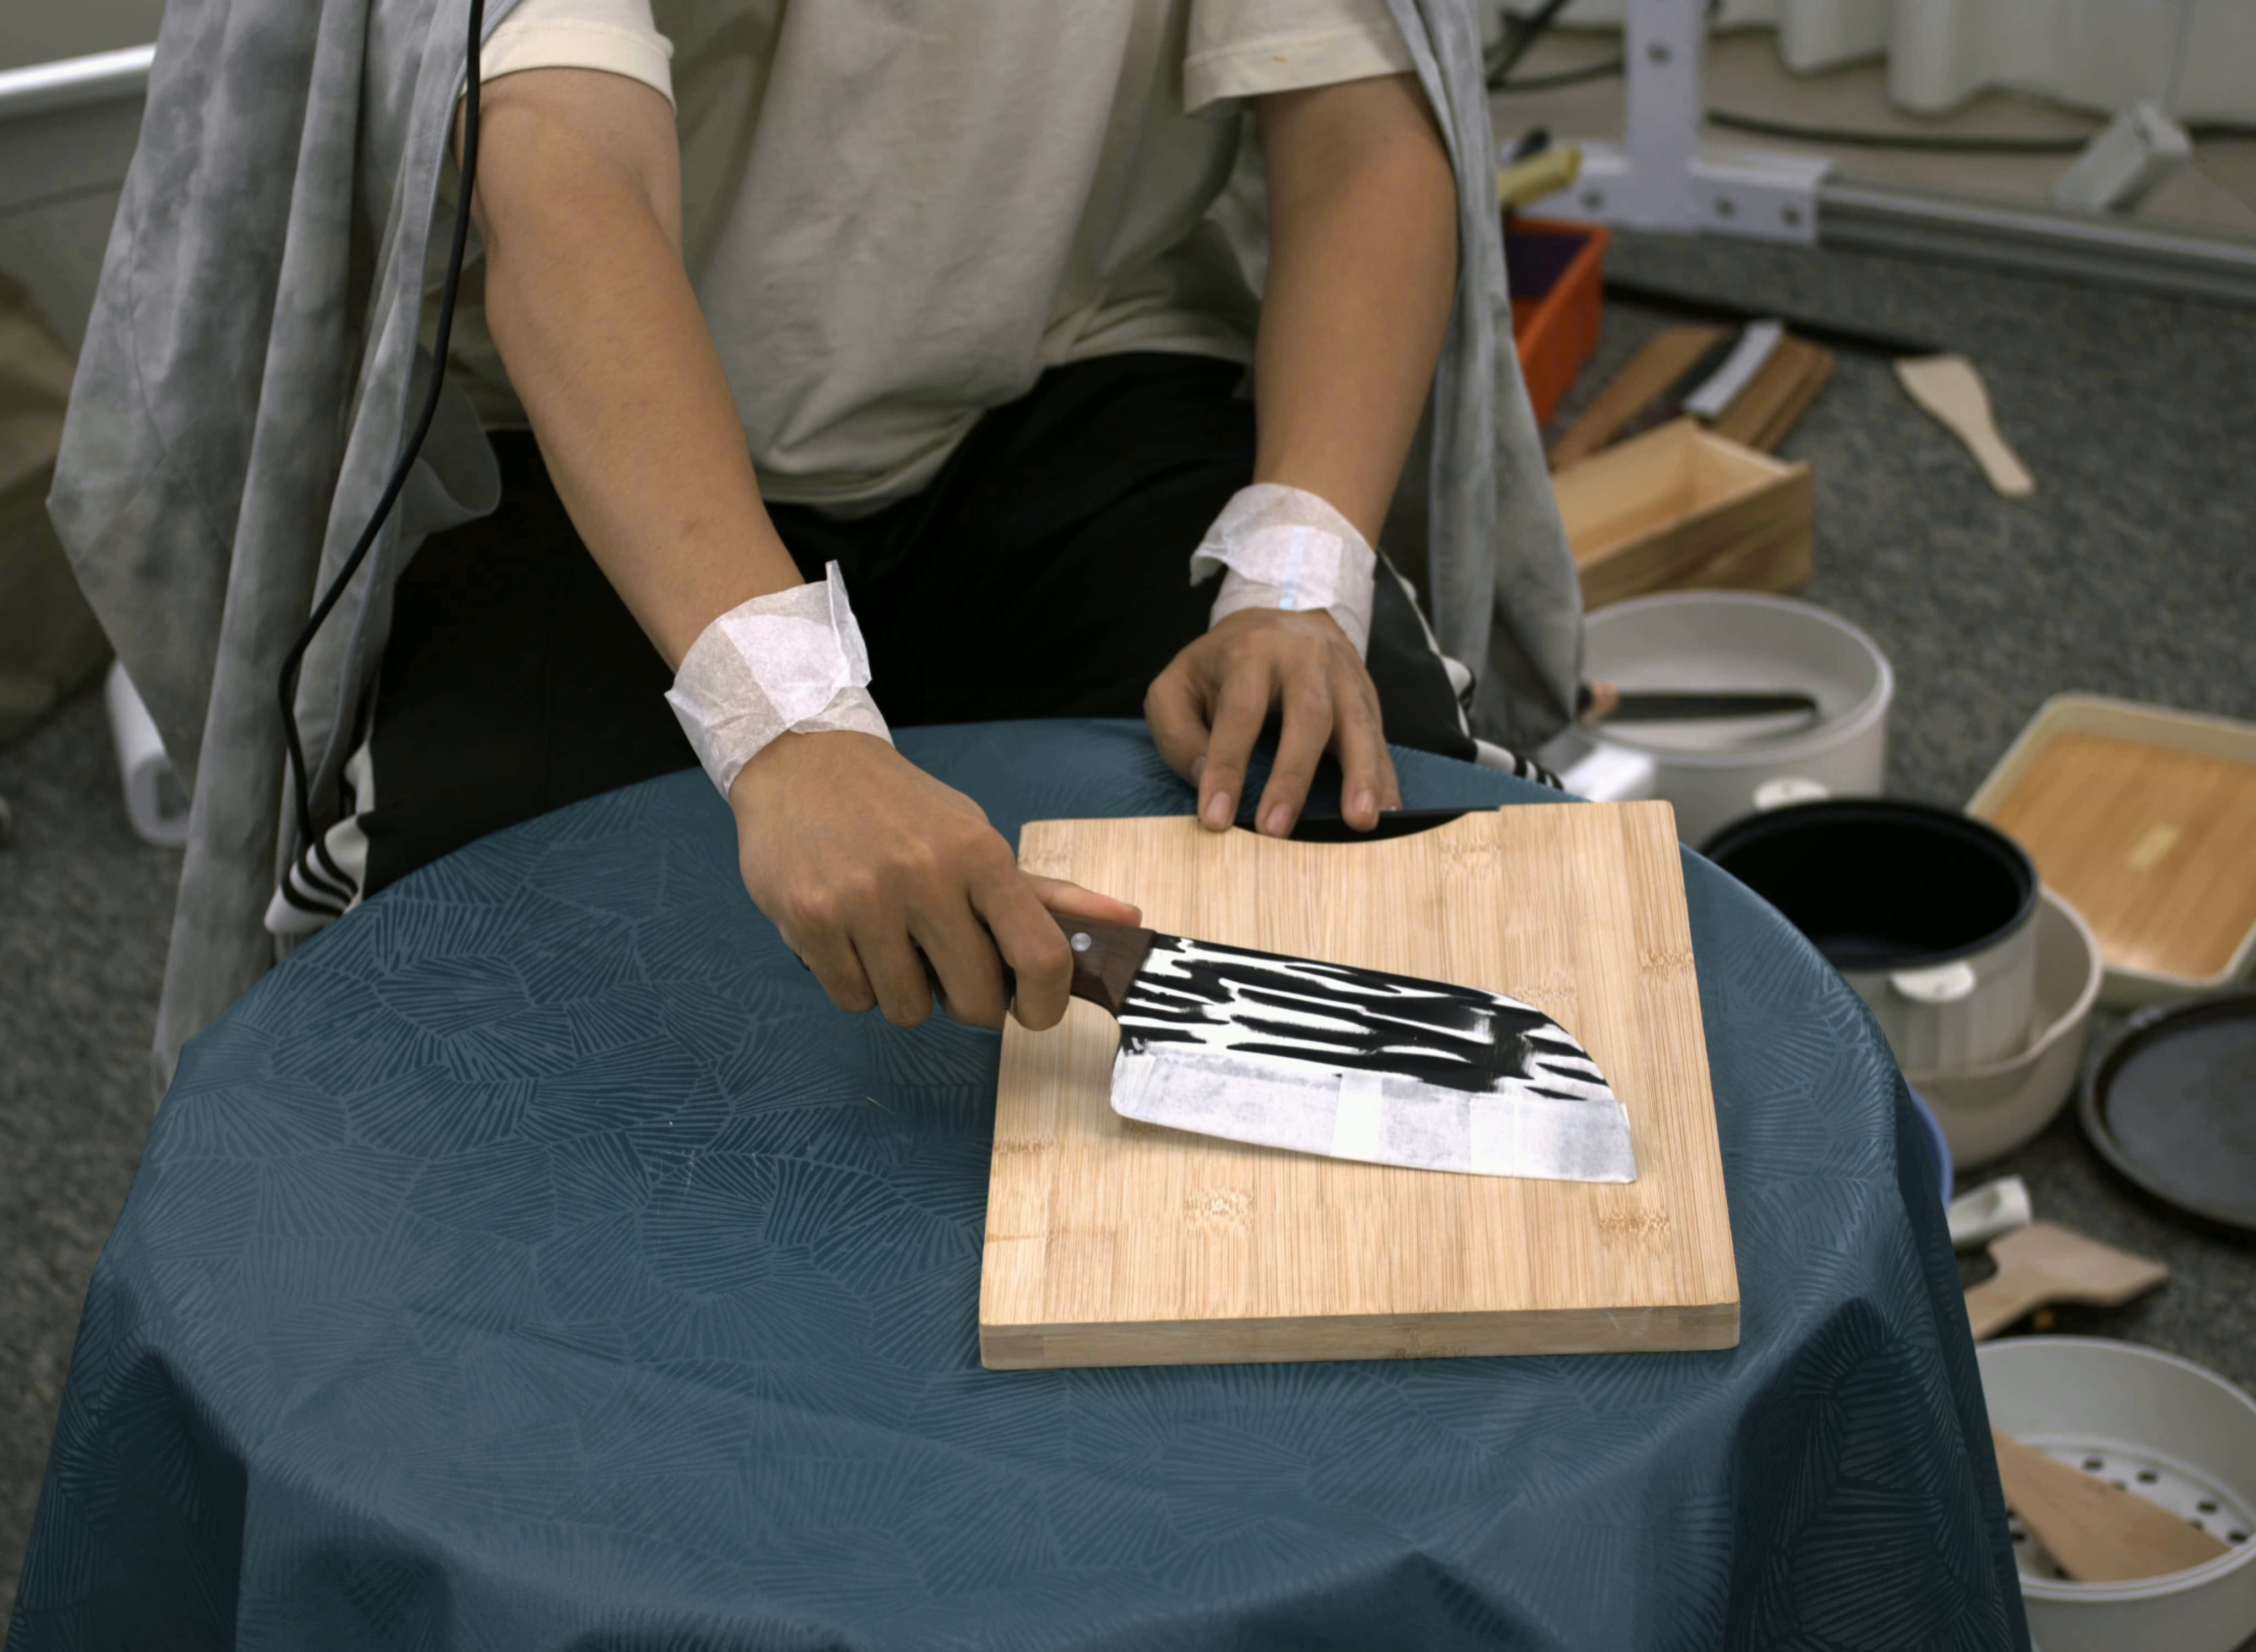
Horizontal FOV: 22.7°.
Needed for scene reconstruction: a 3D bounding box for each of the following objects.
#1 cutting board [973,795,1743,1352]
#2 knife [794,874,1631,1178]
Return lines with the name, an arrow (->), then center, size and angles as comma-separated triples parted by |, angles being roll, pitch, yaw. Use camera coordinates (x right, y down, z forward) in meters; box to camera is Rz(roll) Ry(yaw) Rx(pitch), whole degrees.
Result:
cutting board -> 0.077, 0.080, 1.916 | 0.249, 0.023, 0.354 | -2, 27, 1
knife -> 0.025, 0.067, 1.861 | 0.298, 0.023, 0.069 | 10, 65, 13
